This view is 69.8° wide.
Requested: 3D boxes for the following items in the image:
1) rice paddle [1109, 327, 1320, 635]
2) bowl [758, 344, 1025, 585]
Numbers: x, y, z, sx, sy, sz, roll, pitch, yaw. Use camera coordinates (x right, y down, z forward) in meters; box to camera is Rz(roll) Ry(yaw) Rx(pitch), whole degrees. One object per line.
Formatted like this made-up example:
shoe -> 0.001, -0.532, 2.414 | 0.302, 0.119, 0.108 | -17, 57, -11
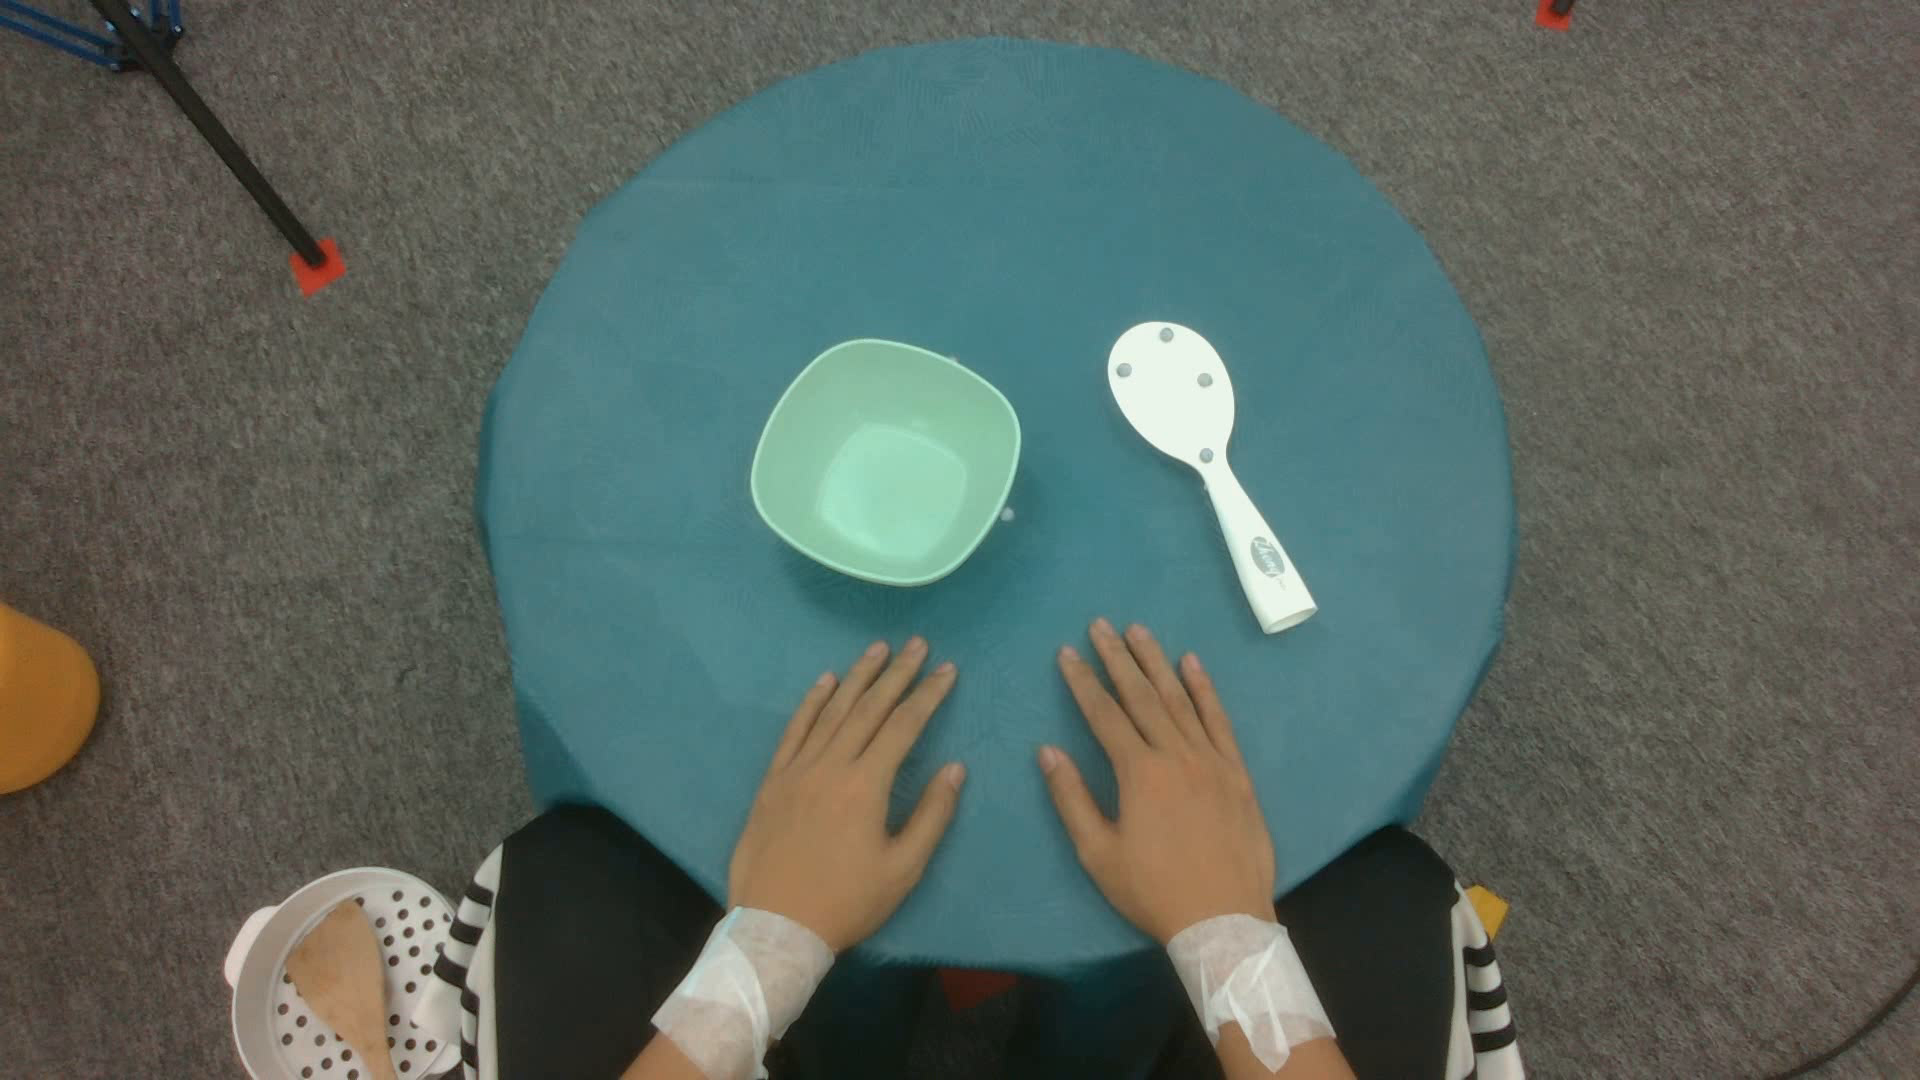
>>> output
rice paddle -> 0.147, -0.042, 0.800 | 0.069, 0.029, 0.205 | -20, 69, -9
bowl -> -0.038, -0.035, 0.786 | 0.151, 0.058, 0.152 | 0, 66, -1
